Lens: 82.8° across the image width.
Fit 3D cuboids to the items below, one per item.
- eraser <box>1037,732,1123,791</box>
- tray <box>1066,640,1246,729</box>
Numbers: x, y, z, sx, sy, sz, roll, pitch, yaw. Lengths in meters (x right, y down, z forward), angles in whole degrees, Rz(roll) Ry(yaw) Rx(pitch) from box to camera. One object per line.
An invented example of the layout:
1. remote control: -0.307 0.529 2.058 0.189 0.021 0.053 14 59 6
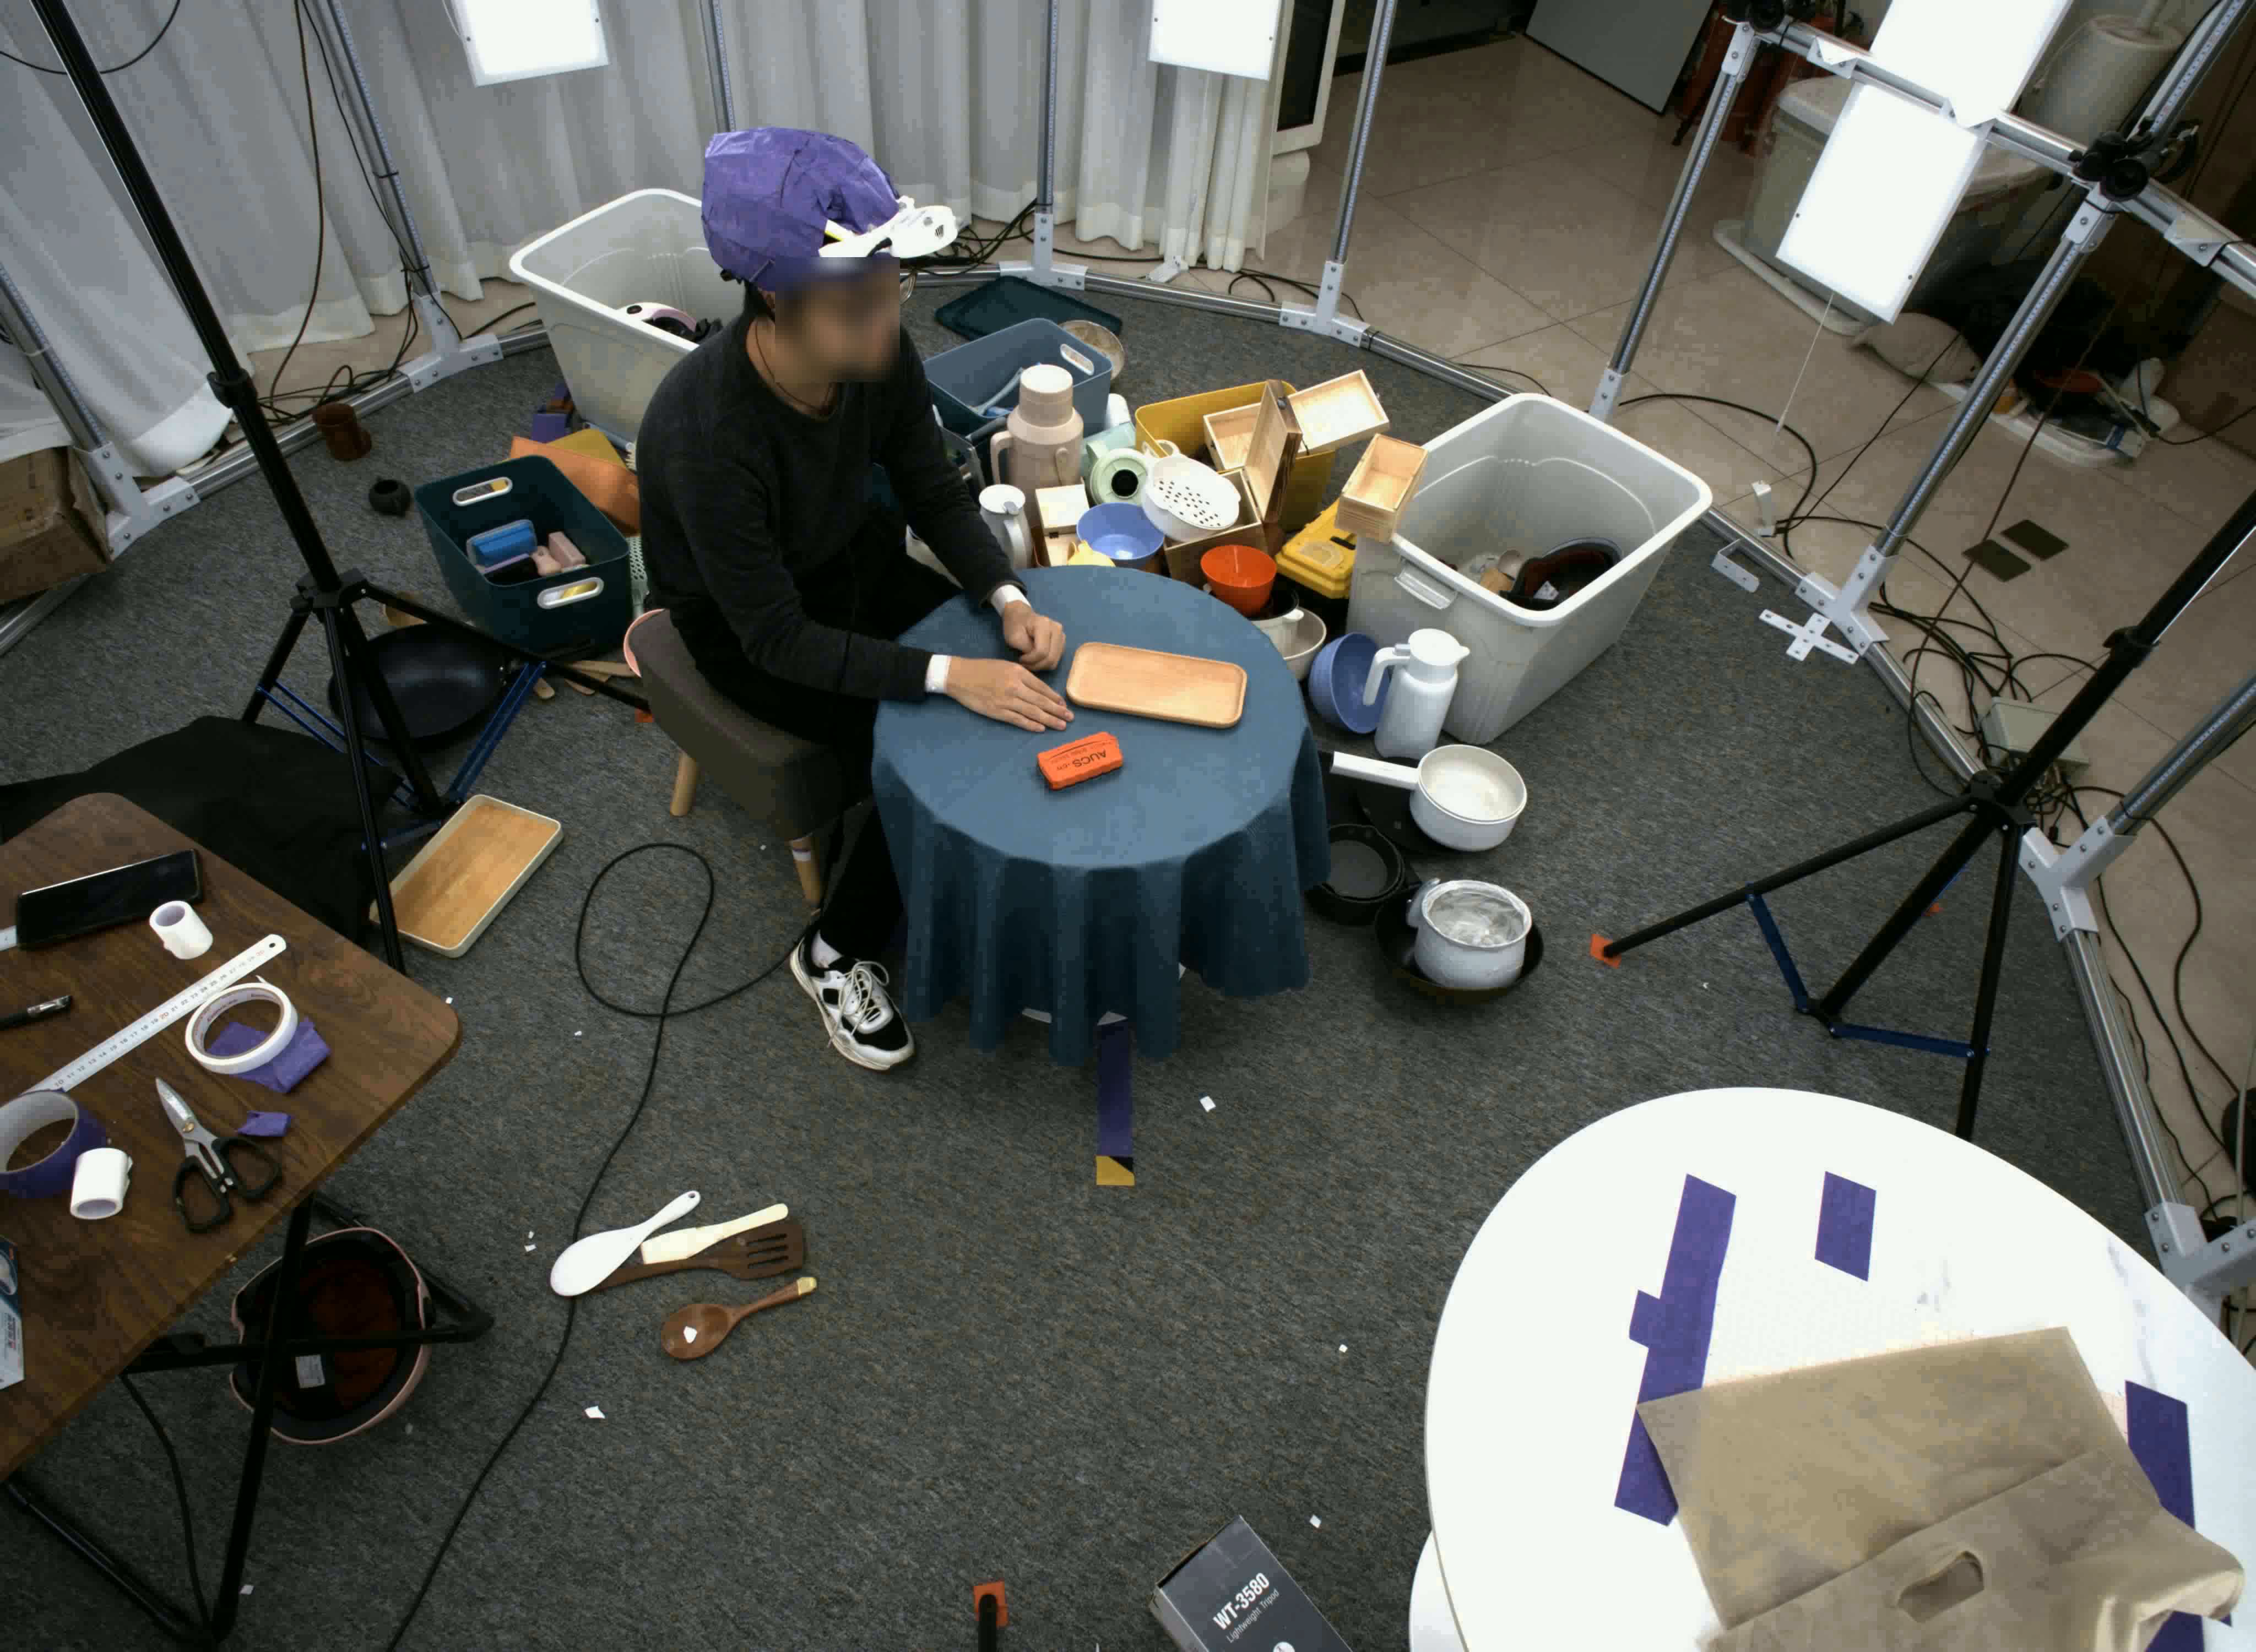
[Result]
1. eraser: -0.065 -0.088 1.726 0.108 0.022 0.060 -19 54 -20
2. tray: 0.041 -0.203 1.837 0.251 0.022 0.133 10 47 5
